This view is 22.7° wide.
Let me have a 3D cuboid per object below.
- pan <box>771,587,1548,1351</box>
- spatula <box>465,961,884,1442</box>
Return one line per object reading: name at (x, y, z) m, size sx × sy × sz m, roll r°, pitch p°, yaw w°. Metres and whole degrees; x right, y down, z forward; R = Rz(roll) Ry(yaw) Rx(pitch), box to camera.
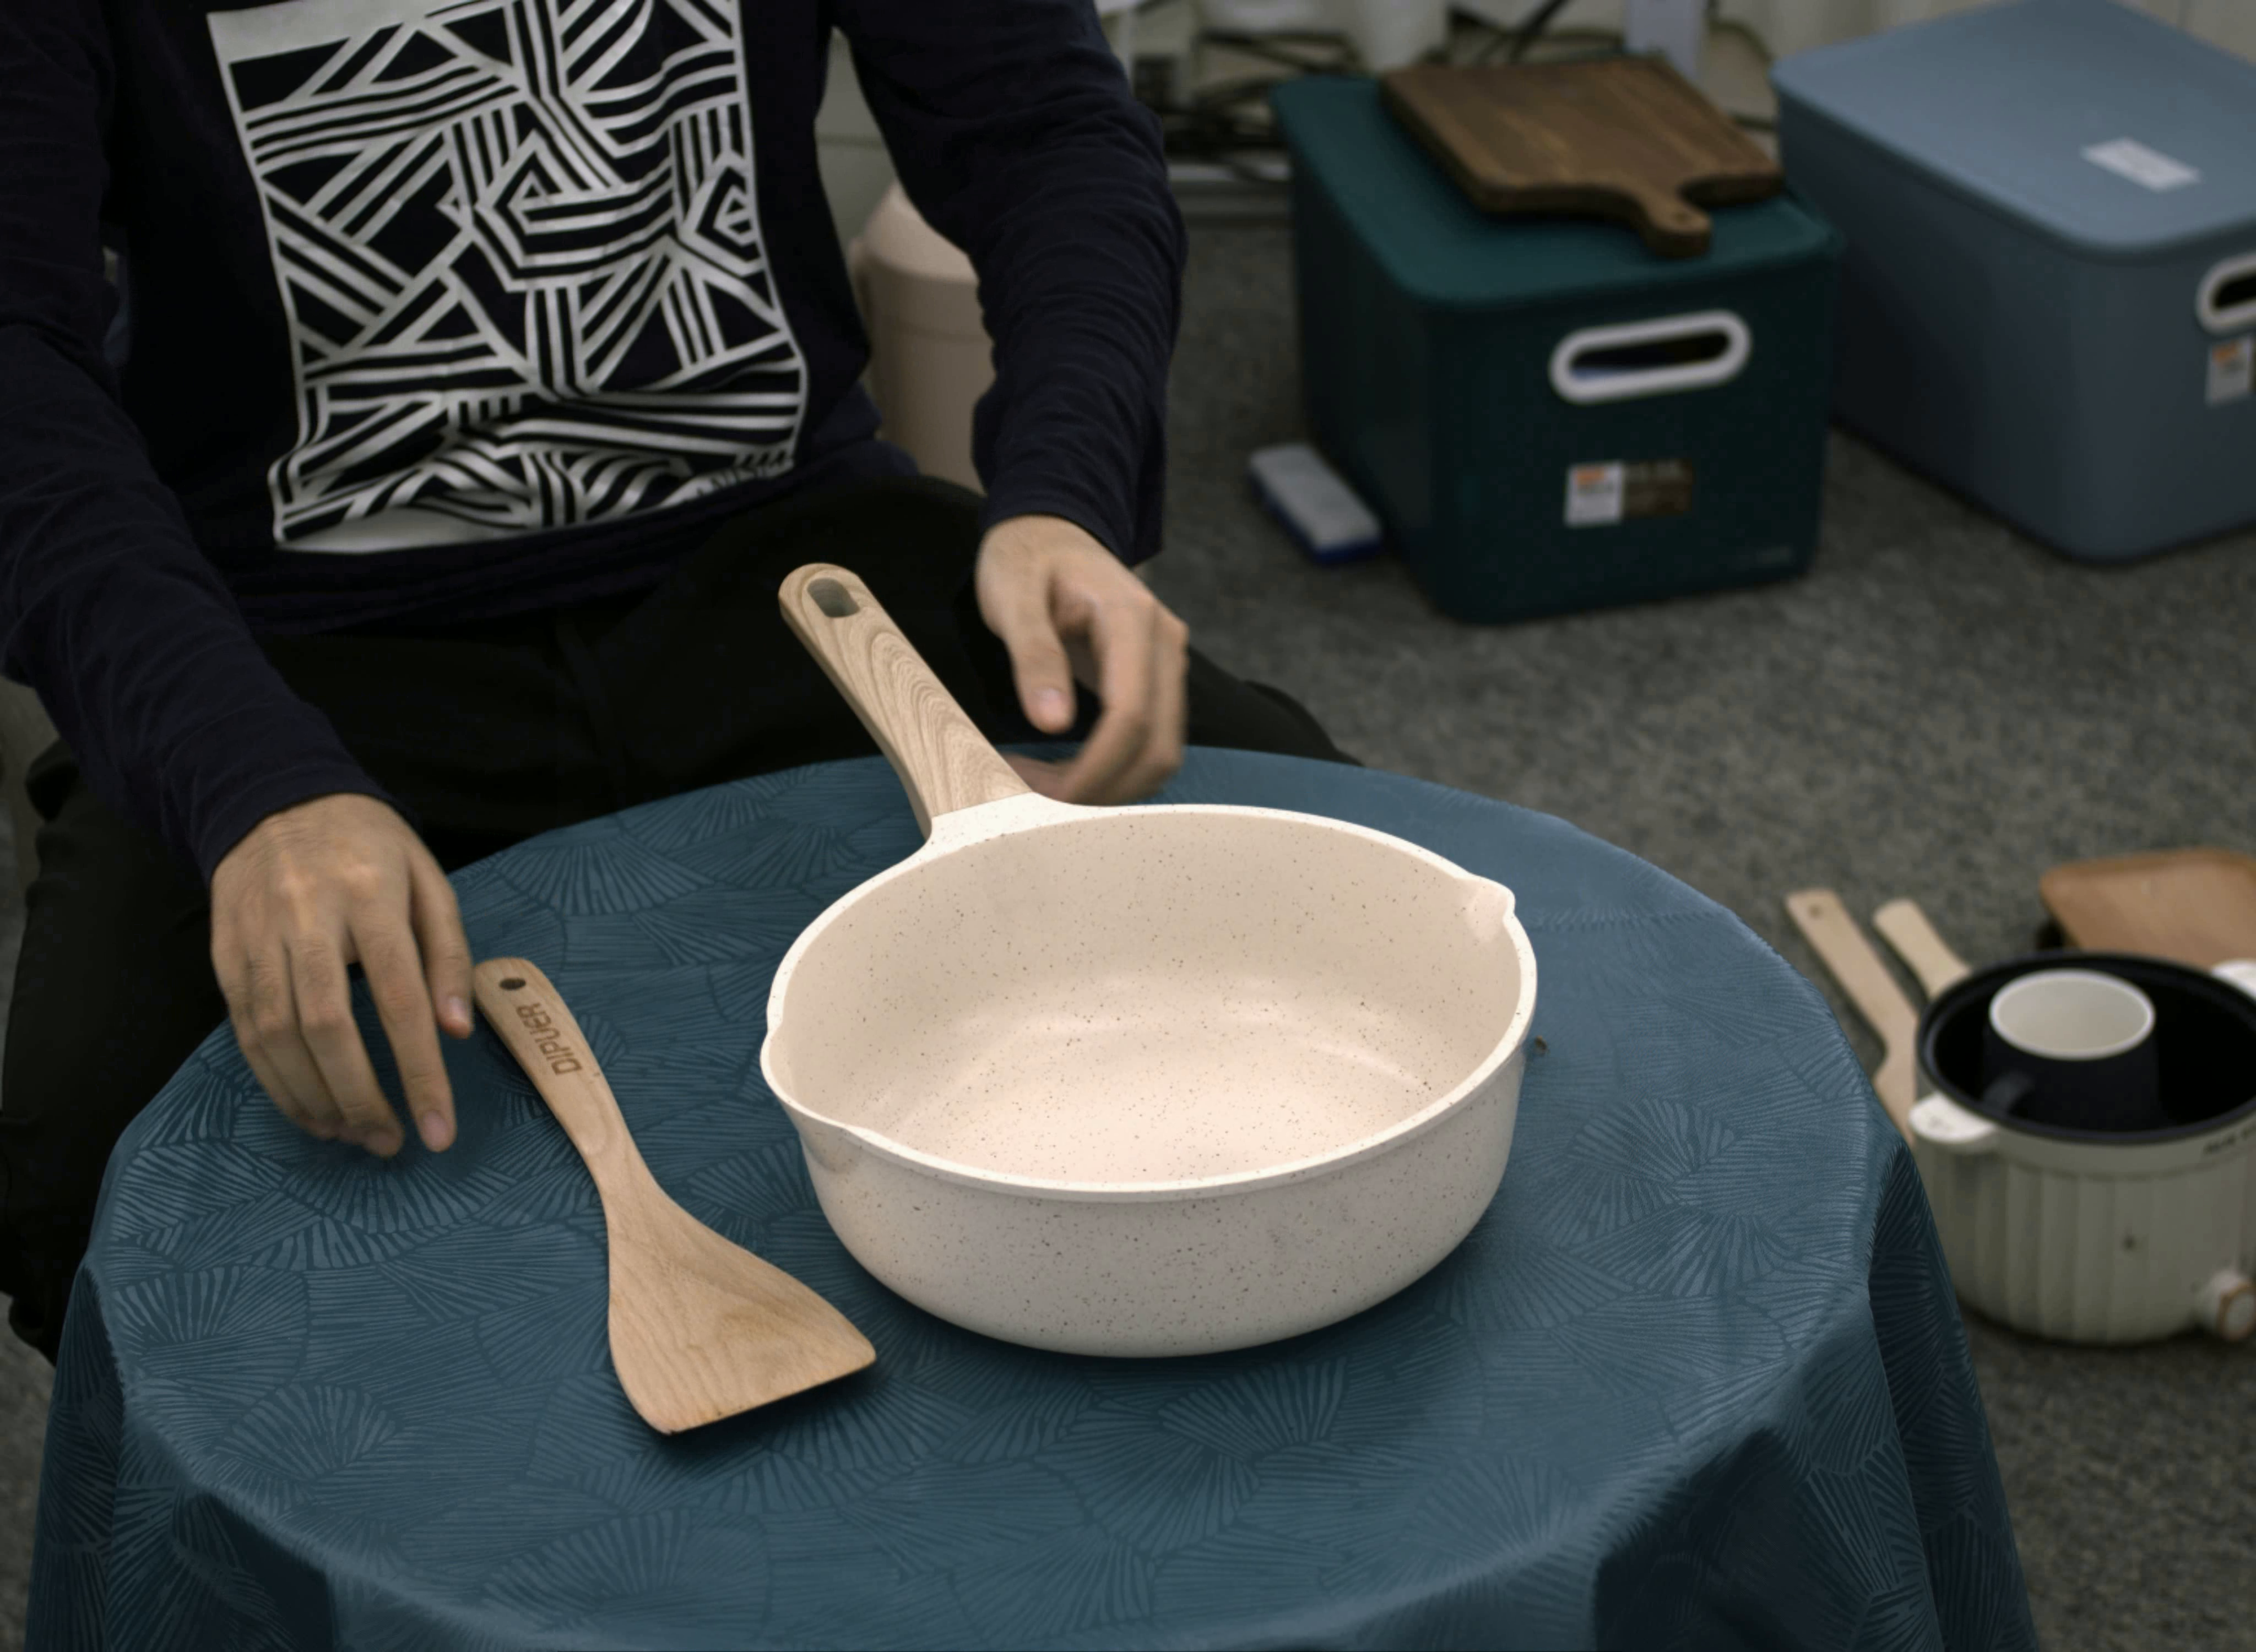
pan at (-0.025, 0.043, 1.919) m, size 0.264 × 0.101 × 0.437 m, roll -15°, pitch 29°, yaw -20°
spatula at (-0.166, 0.118, 1.874) m, size 0.080 × 0.016 × 0.330 m, roll -12°, pitch 30°, yaw -18°
